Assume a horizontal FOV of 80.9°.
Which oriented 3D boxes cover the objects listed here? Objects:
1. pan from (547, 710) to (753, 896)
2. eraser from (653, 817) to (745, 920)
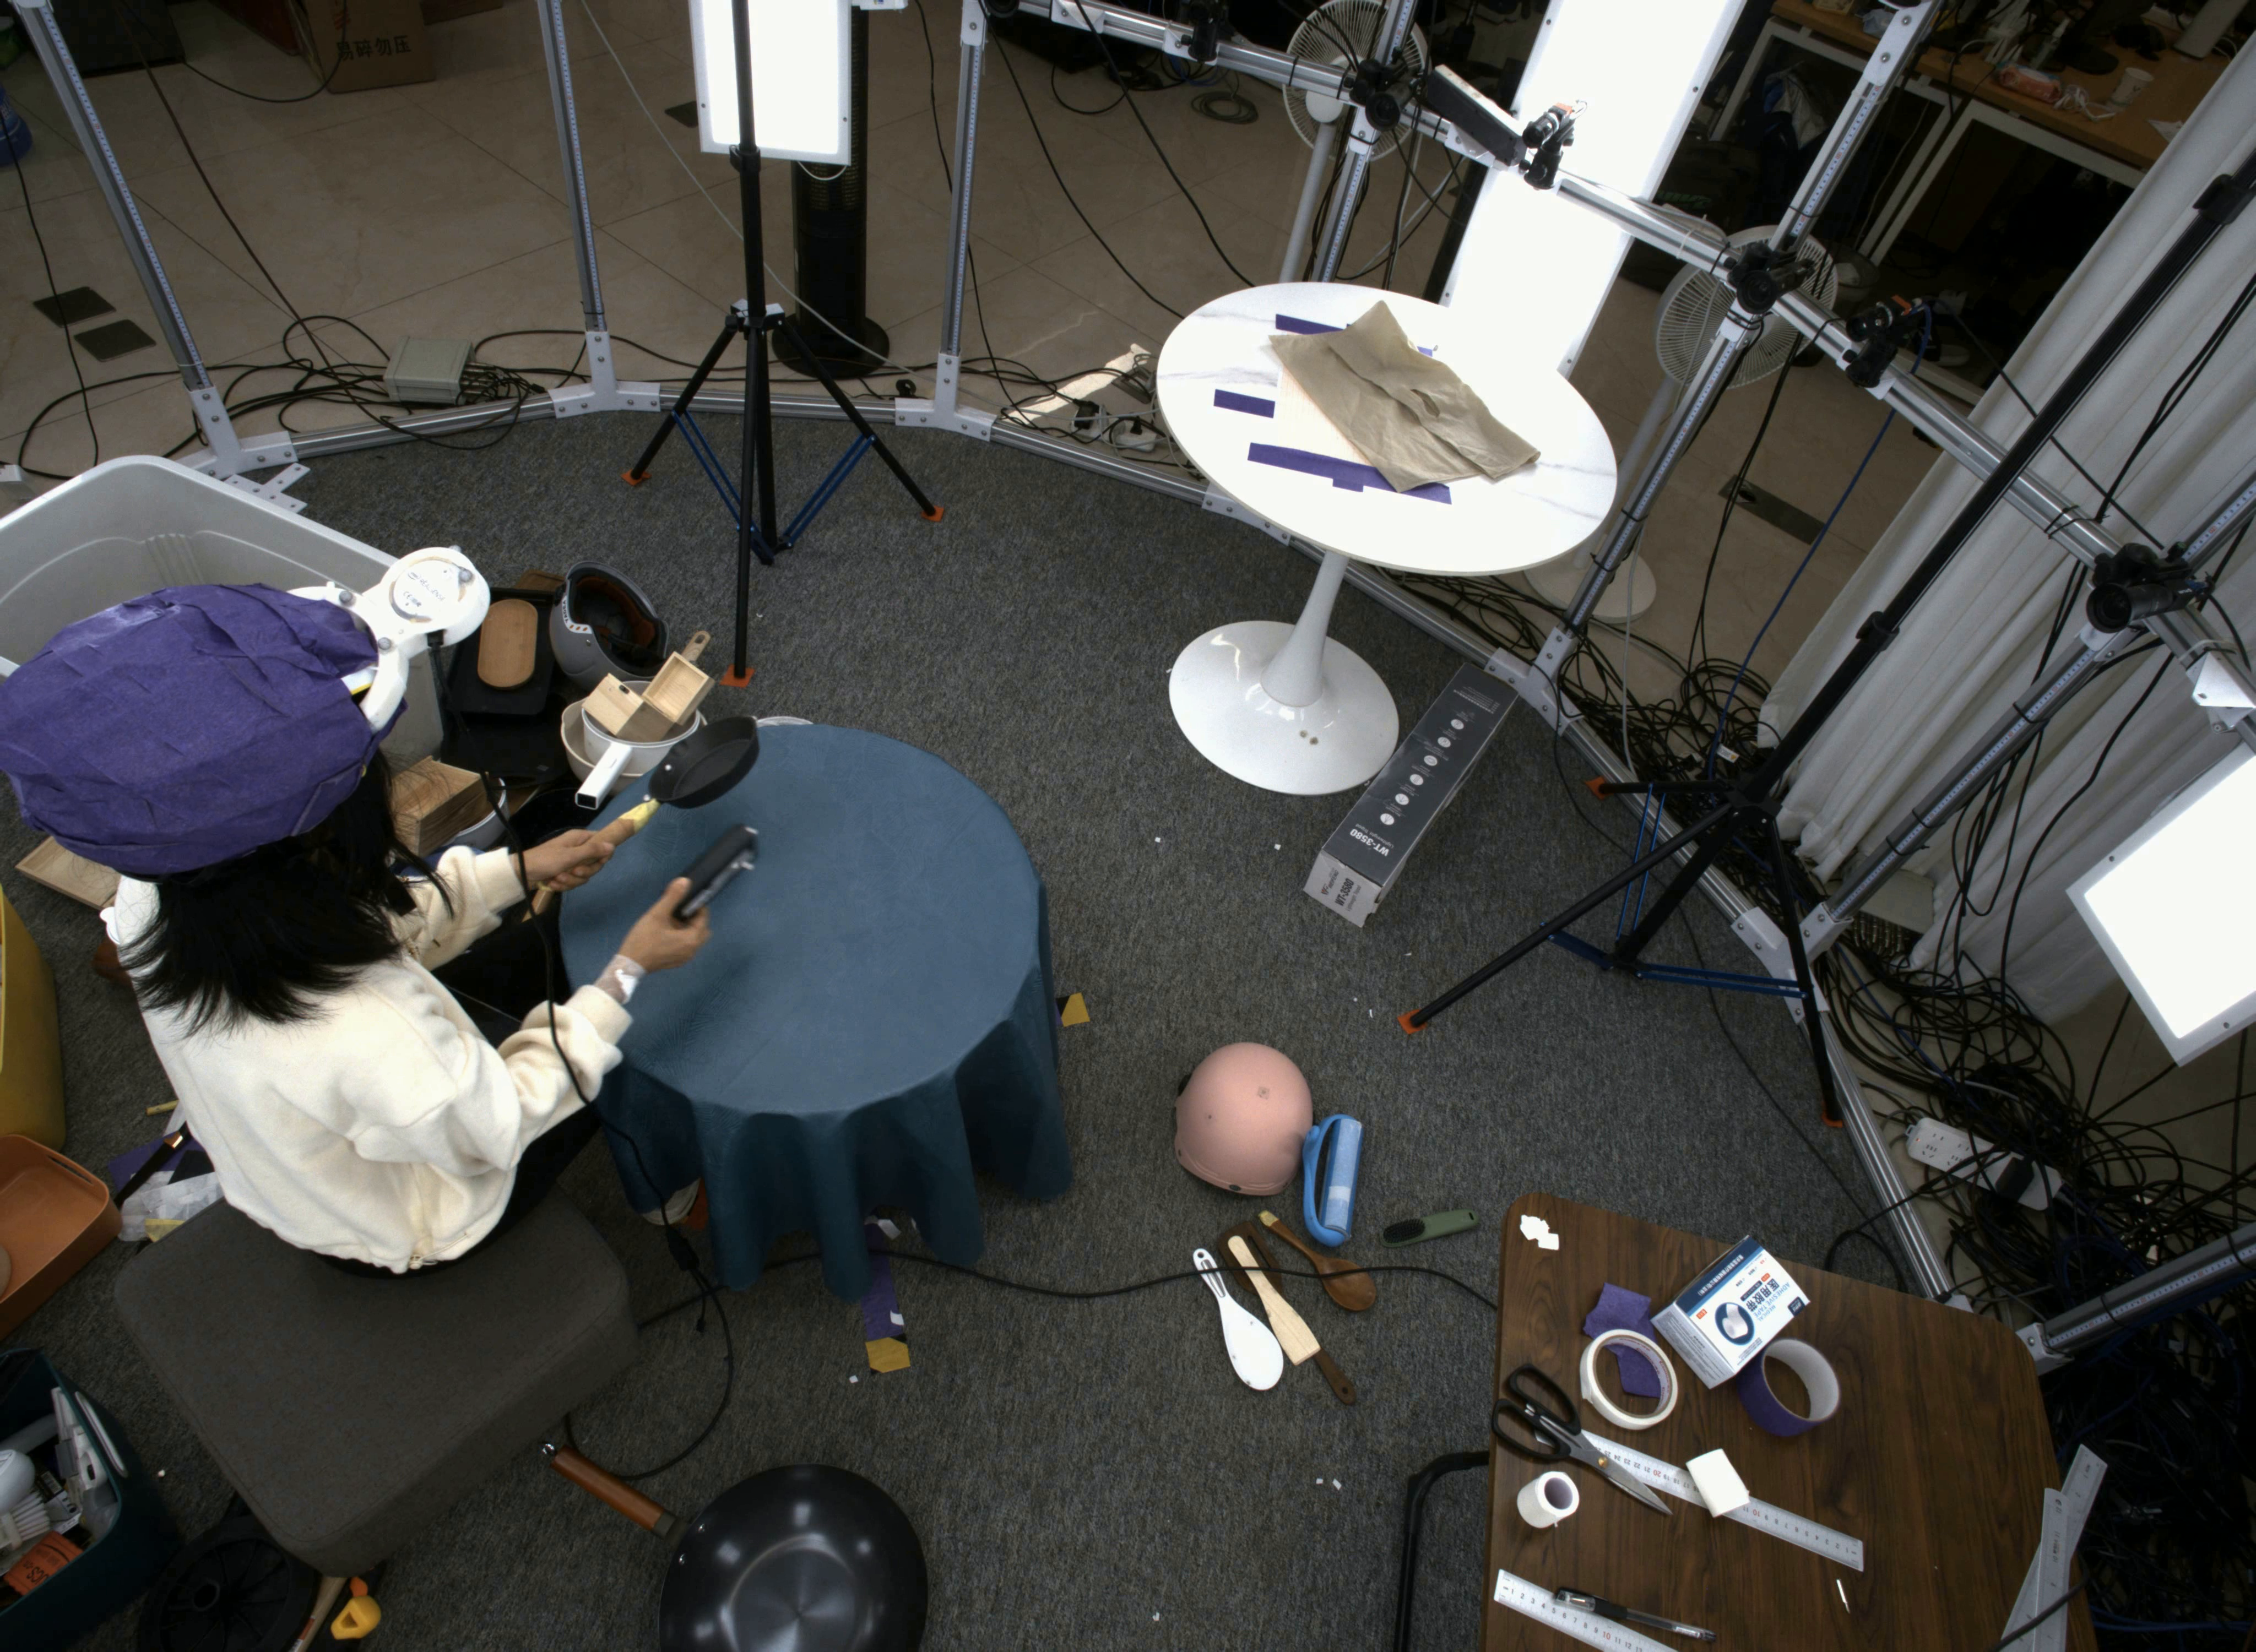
[{"bbox_3d":[-0.583,-0.027,1.556,0.162,0.051,0.324,19,58,47],"label":"pan"},{"bbox_3d":[-0.494,0.046,1.489,0.030,0.054,0.125,33,57,8],"label":"eraser"}]
